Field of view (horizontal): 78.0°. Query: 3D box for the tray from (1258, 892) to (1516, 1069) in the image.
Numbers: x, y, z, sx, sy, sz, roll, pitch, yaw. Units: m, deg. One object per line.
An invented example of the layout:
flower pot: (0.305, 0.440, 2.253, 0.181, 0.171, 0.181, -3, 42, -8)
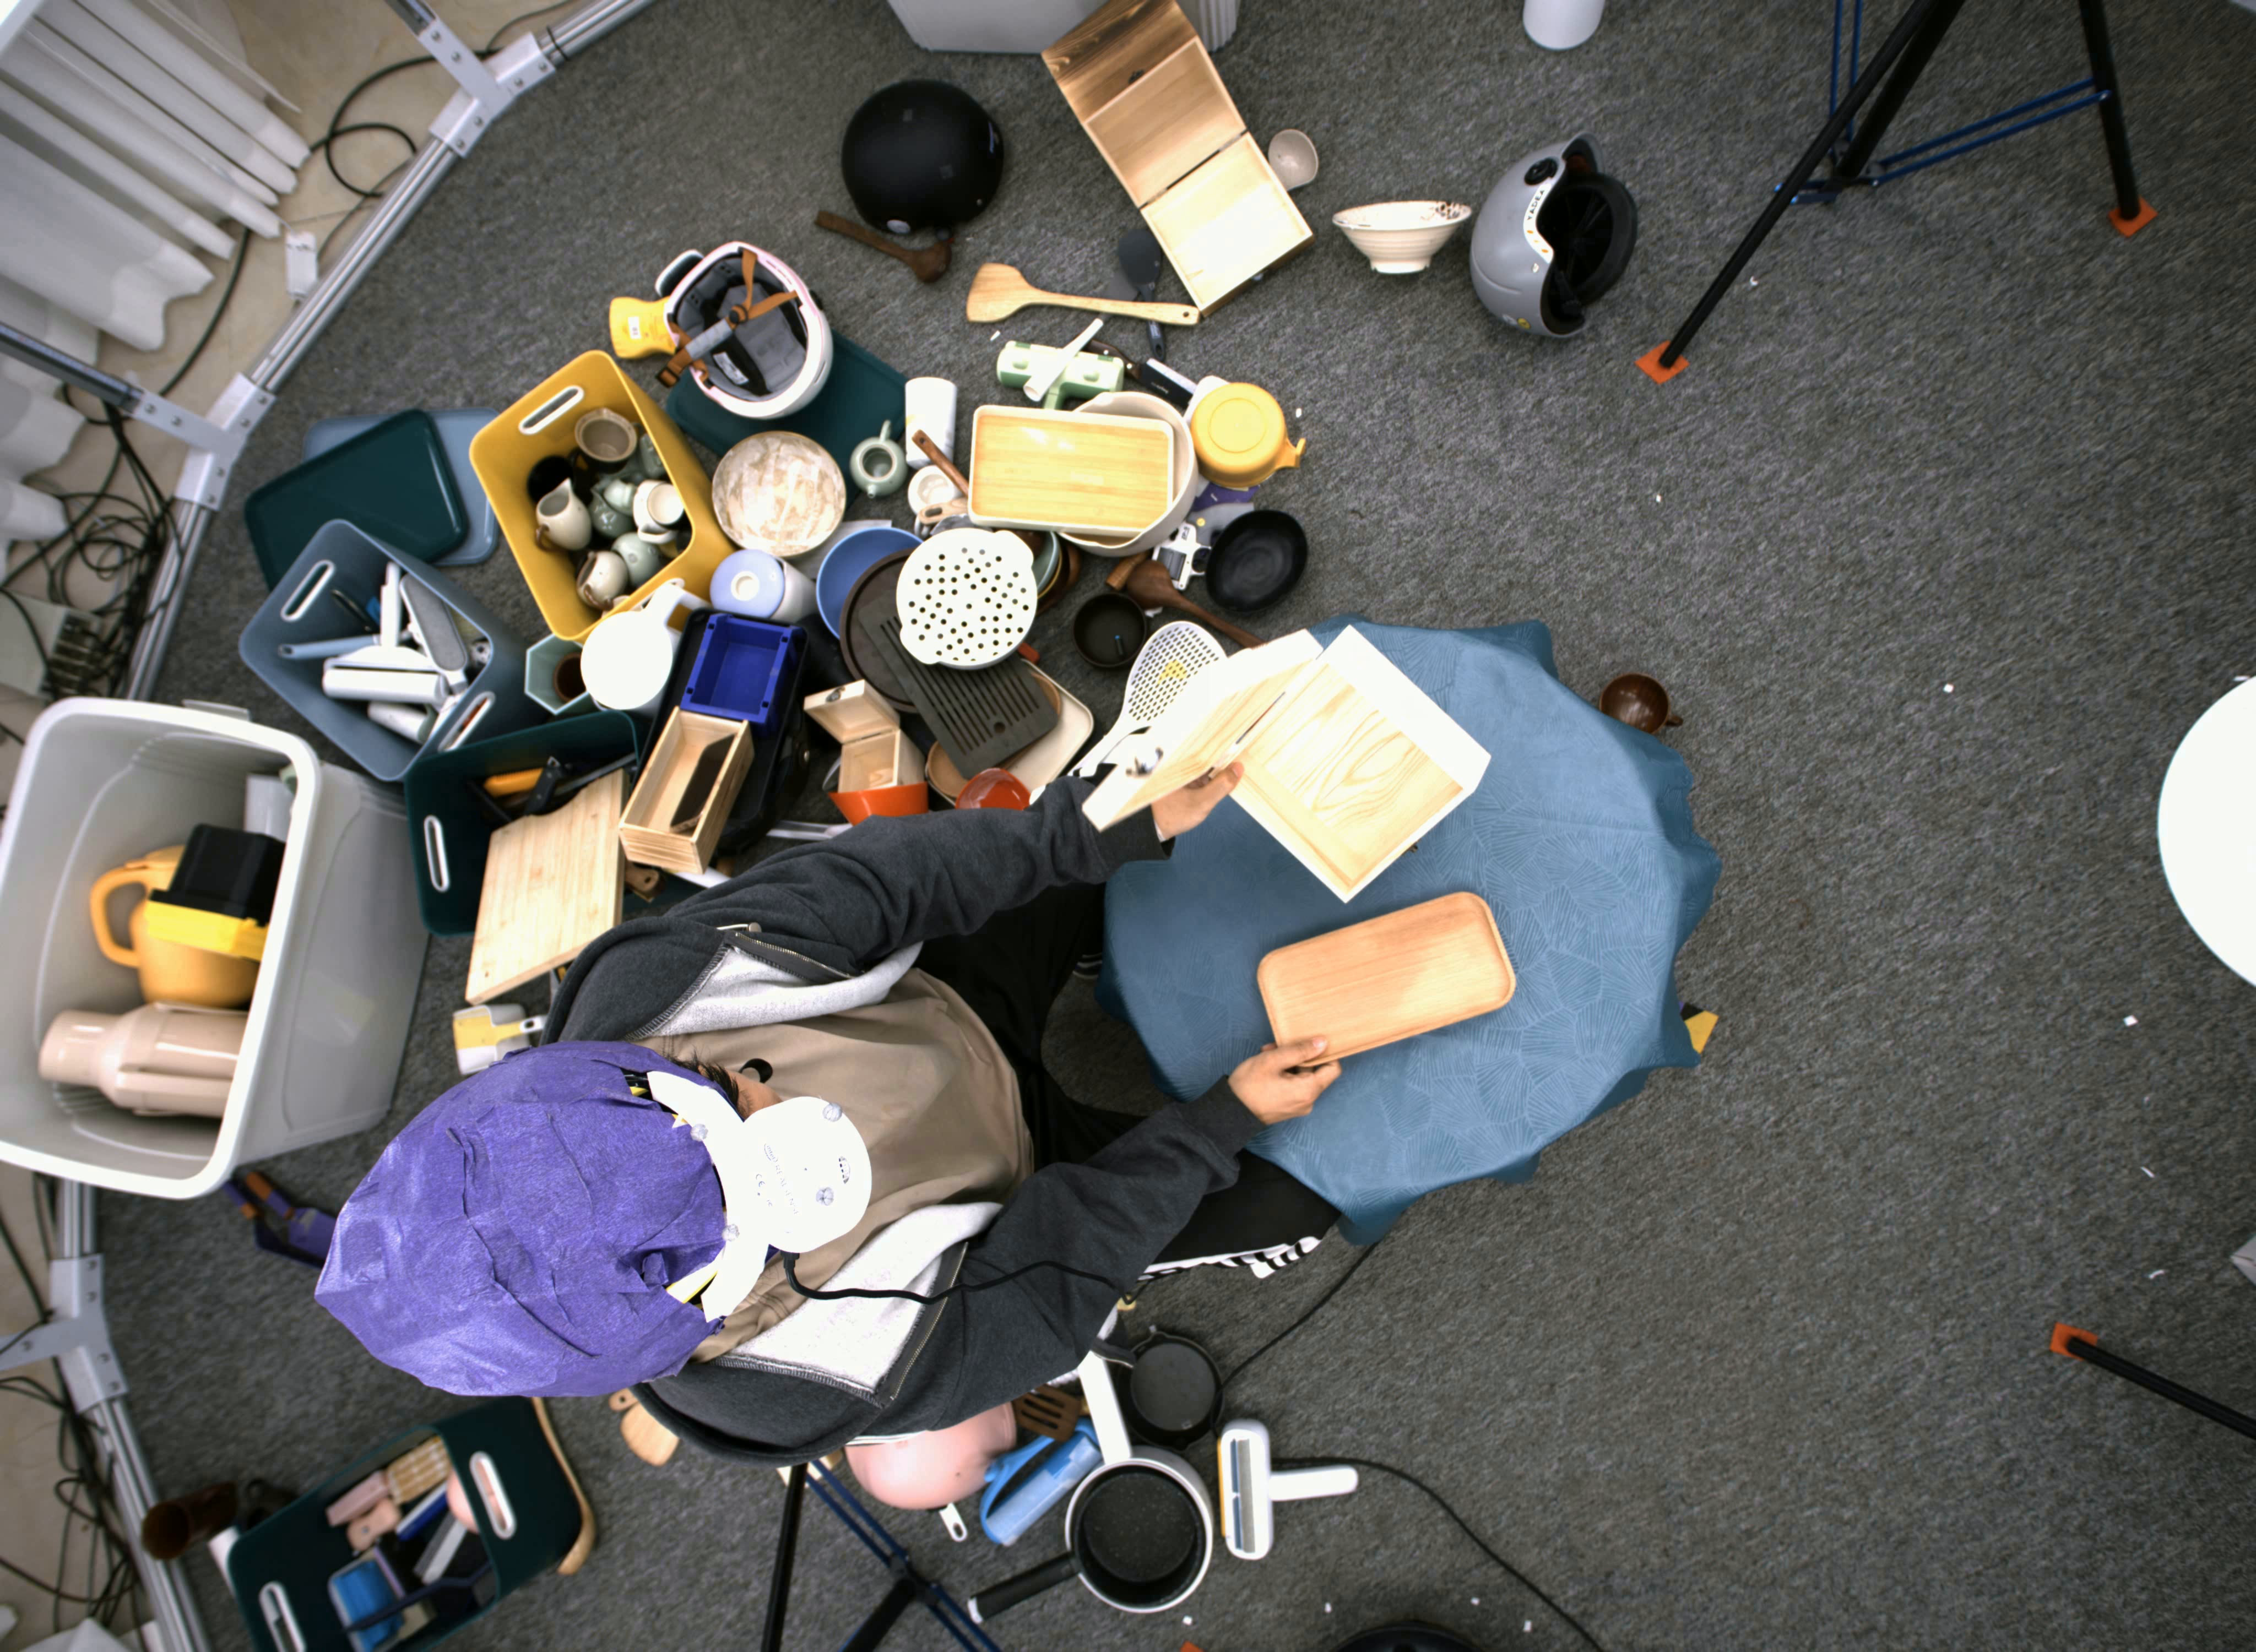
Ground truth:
tray: (0.264, 0.158, 1.421, 0.252, 0.023, 0.128, -18, 71, 6)

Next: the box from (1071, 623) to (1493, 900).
box: (0.145, -0.047, 1.227, 0.265, 0.247, 0.186, 43, 129, 1)
